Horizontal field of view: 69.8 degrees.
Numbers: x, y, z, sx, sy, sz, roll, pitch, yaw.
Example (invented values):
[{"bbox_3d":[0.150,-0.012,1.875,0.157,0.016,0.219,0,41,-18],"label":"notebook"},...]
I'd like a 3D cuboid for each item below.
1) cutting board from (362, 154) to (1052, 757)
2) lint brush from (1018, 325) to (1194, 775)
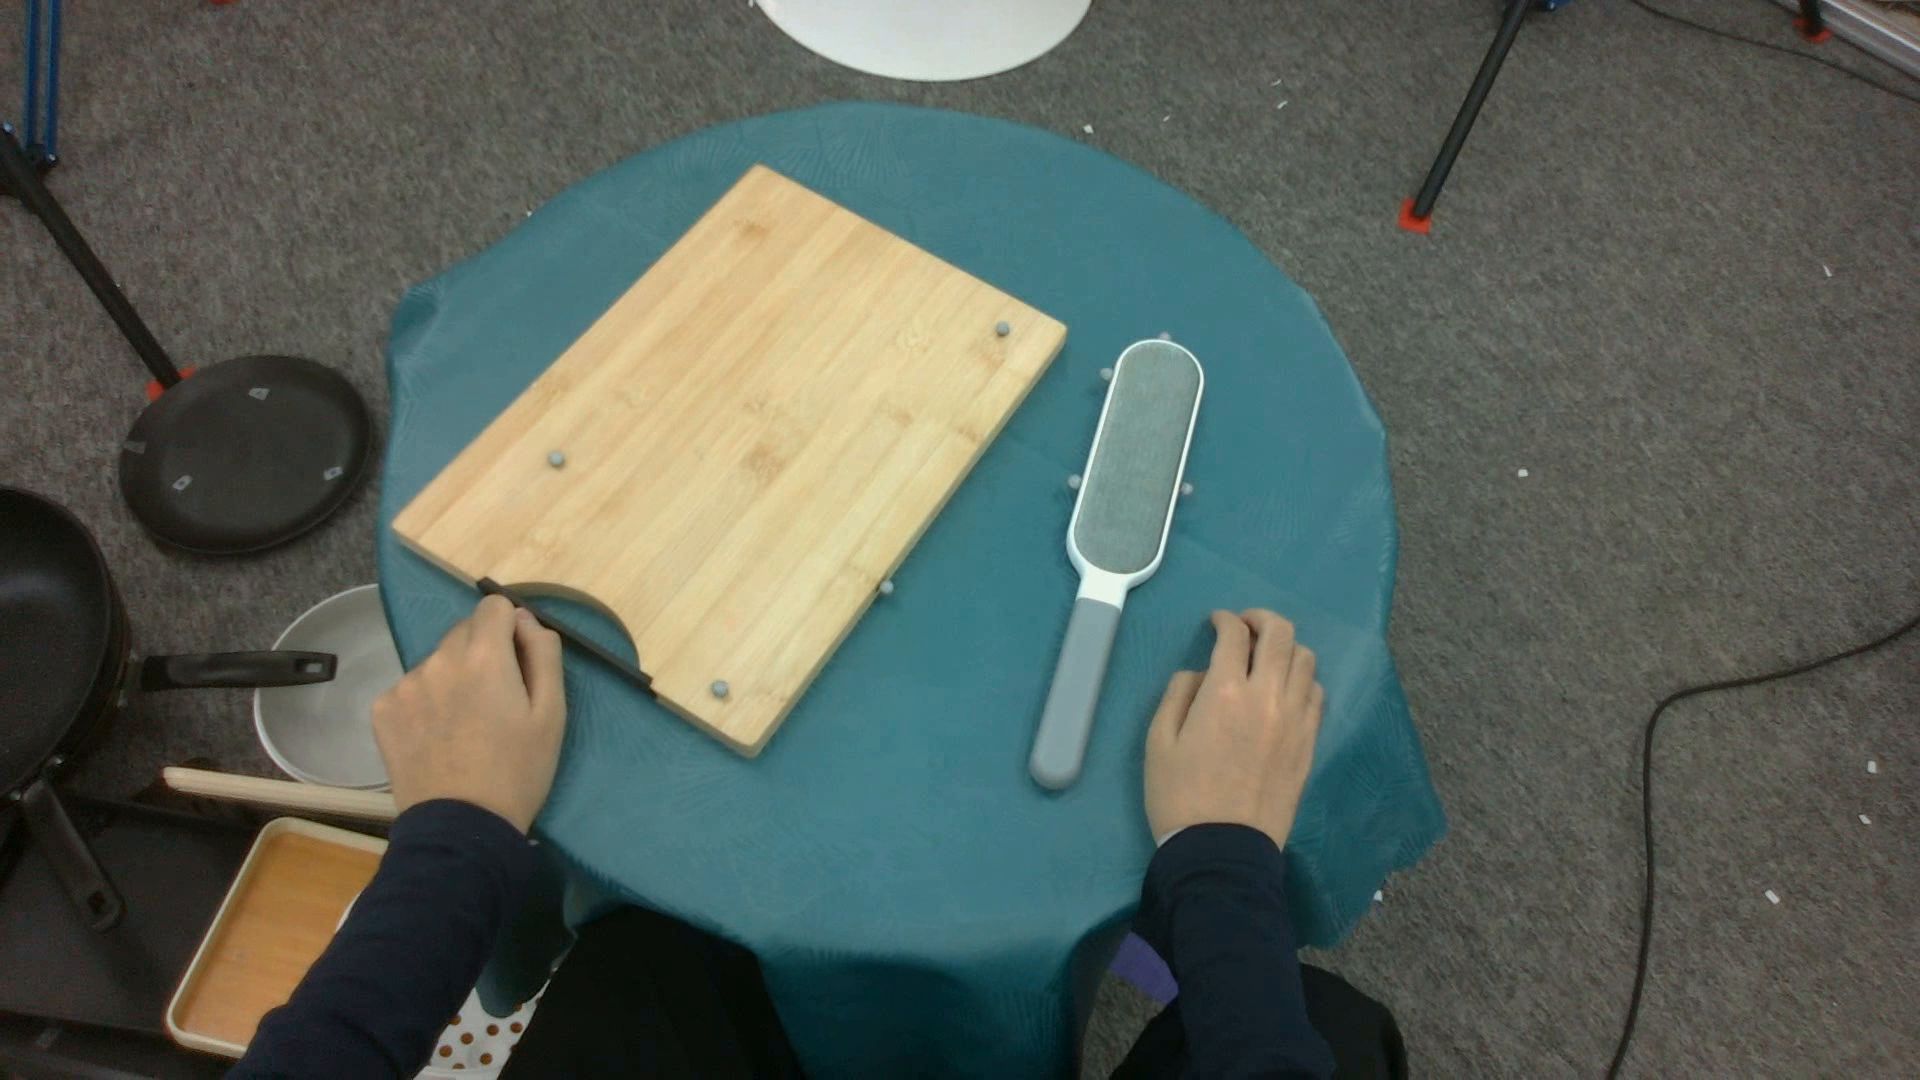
[{"bbox_3d":[-0.133,-0.071,0.812,0.250,0.023,0.350,29,60,11],"label":"cutting board"},{"bbox_3d":[0.081,-0.006,0.791,0.060,0.021,0.310,19,59,-1],"label":"lint brush"}]
